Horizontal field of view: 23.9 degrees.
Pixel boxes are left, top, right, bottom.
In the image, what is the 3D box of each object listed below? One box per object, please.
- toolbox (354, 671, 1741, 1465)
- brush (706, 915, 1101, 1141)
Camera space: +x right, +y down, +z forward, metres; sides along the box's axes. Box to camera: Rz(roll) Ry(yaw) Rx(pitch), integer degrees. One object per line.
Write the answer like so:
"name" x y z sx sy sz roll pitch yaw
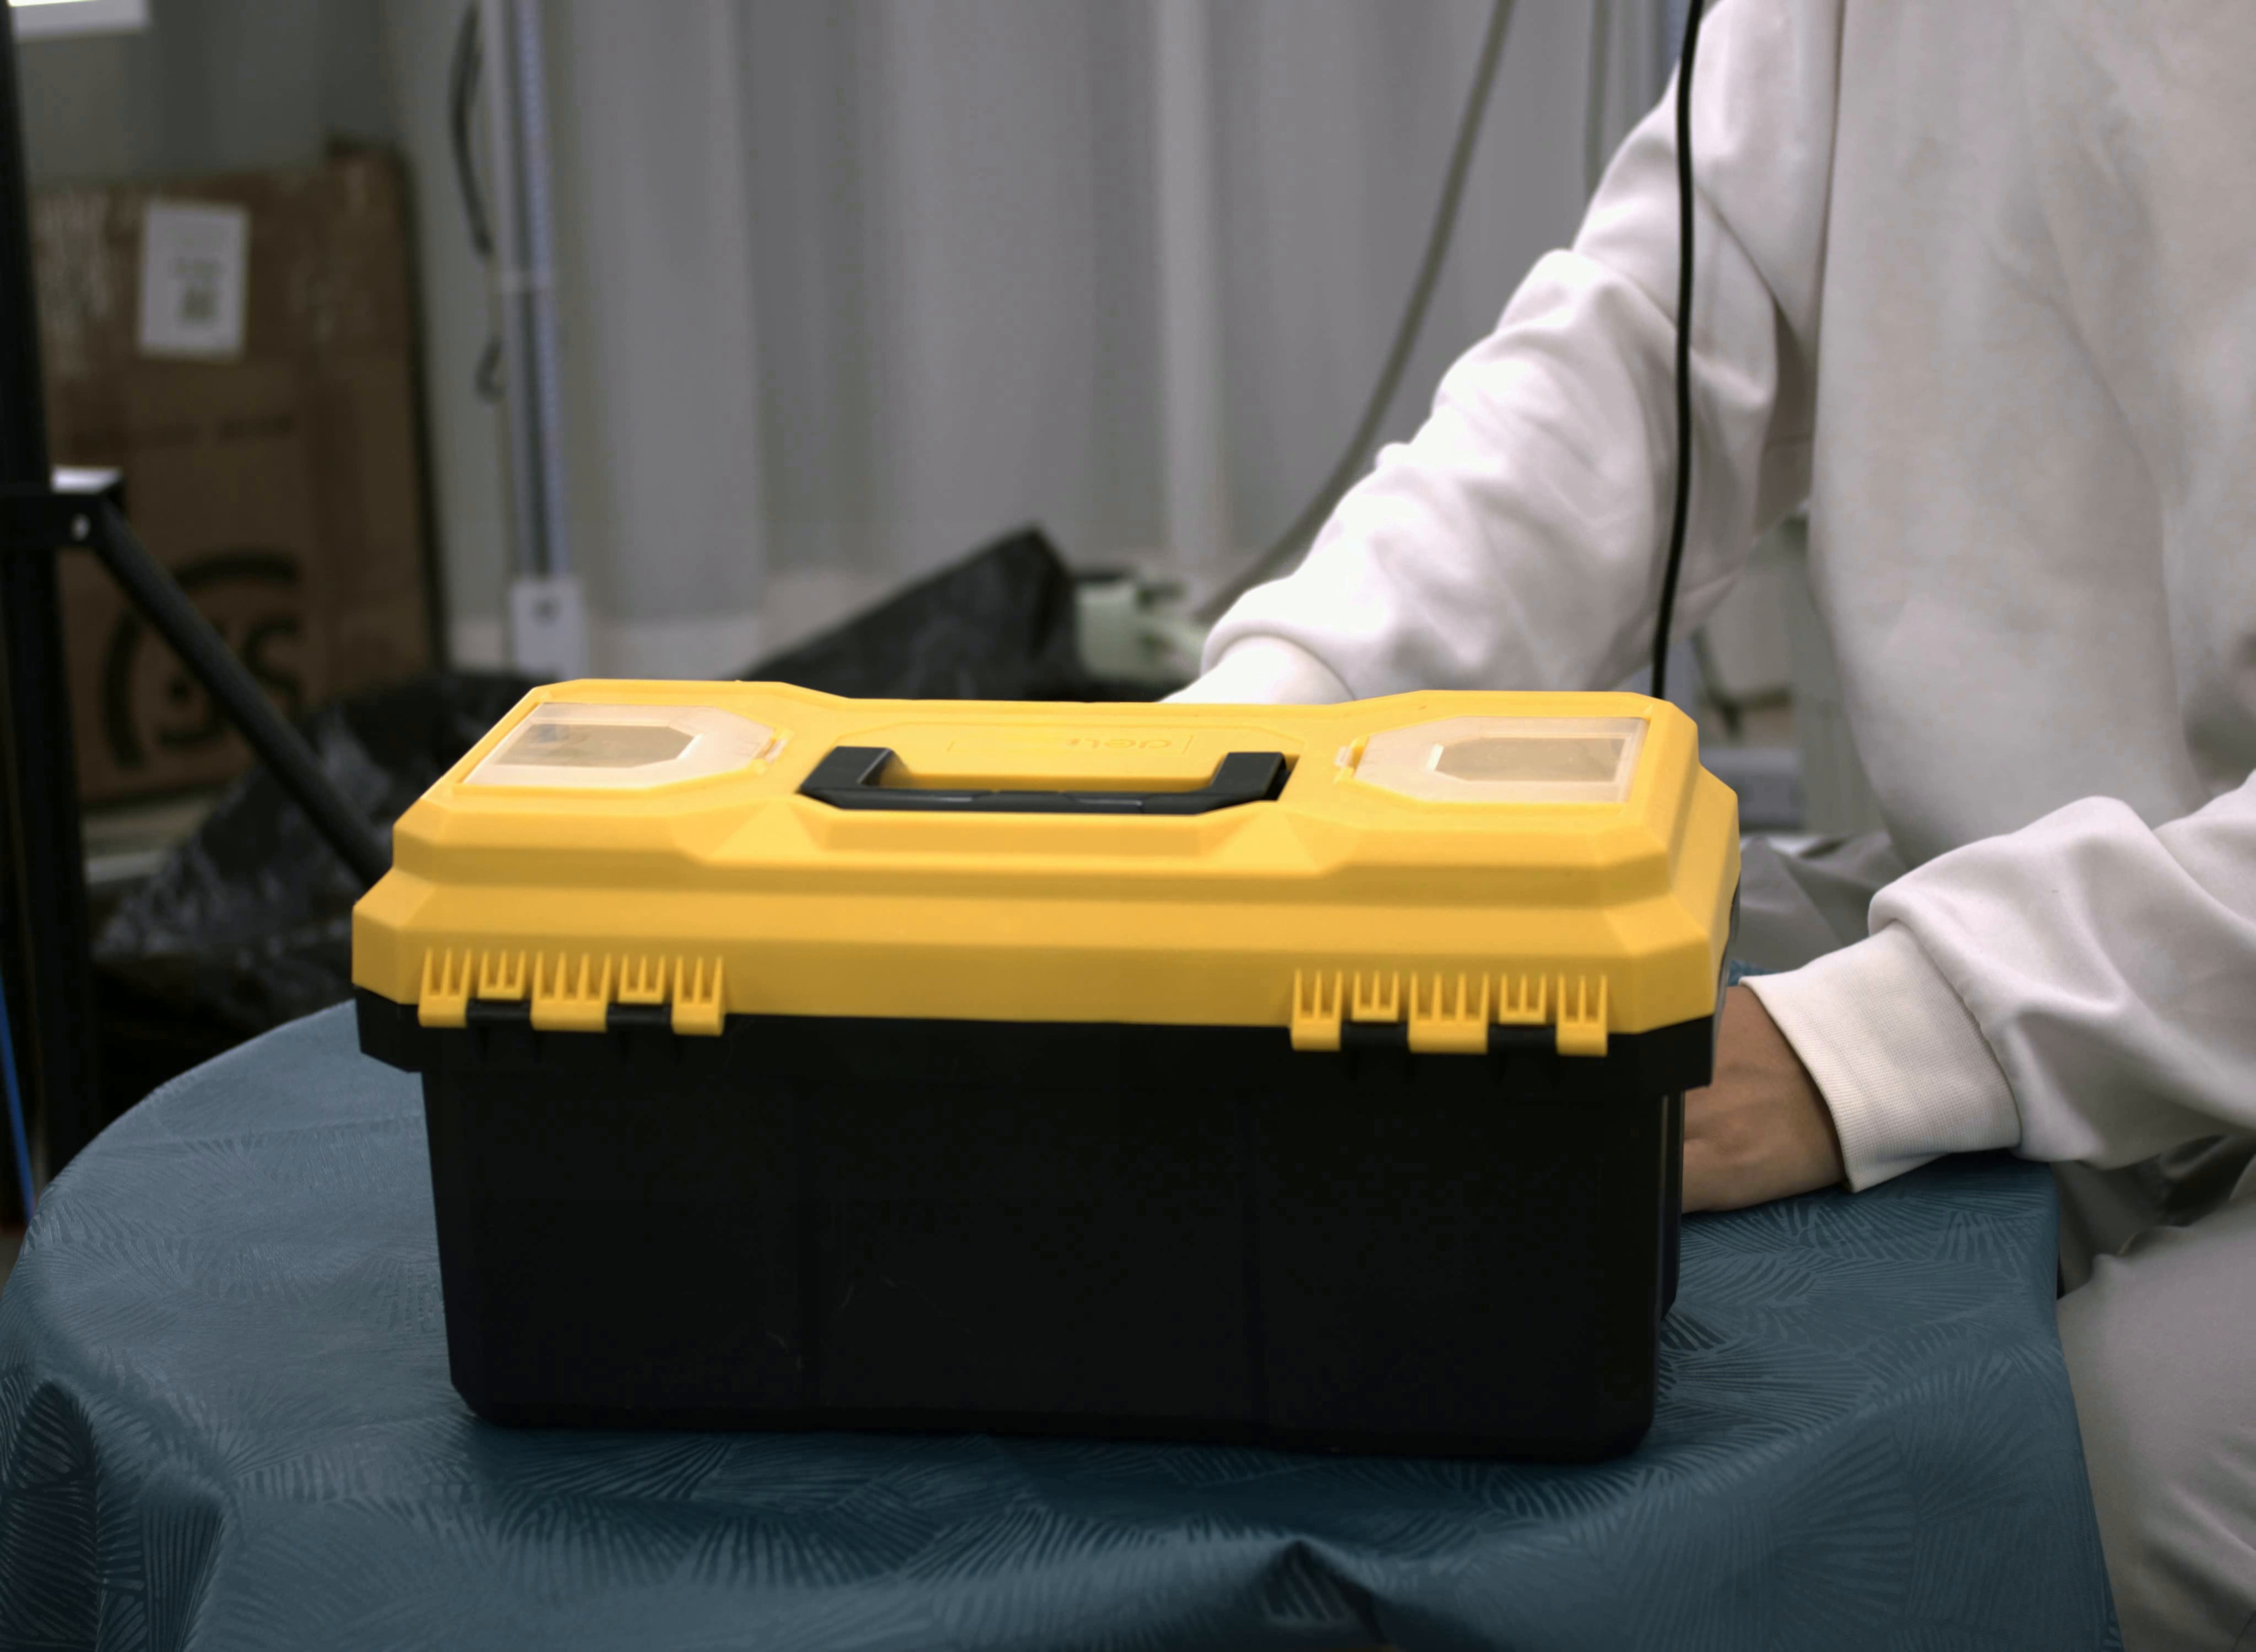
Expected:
"toolbox" -0.016 0.061 1.411 0.353 0.173 0.180 1 17 11
"brush" -0.062 0.061 1.707 0.069 0.056 0.263 22 6 15
